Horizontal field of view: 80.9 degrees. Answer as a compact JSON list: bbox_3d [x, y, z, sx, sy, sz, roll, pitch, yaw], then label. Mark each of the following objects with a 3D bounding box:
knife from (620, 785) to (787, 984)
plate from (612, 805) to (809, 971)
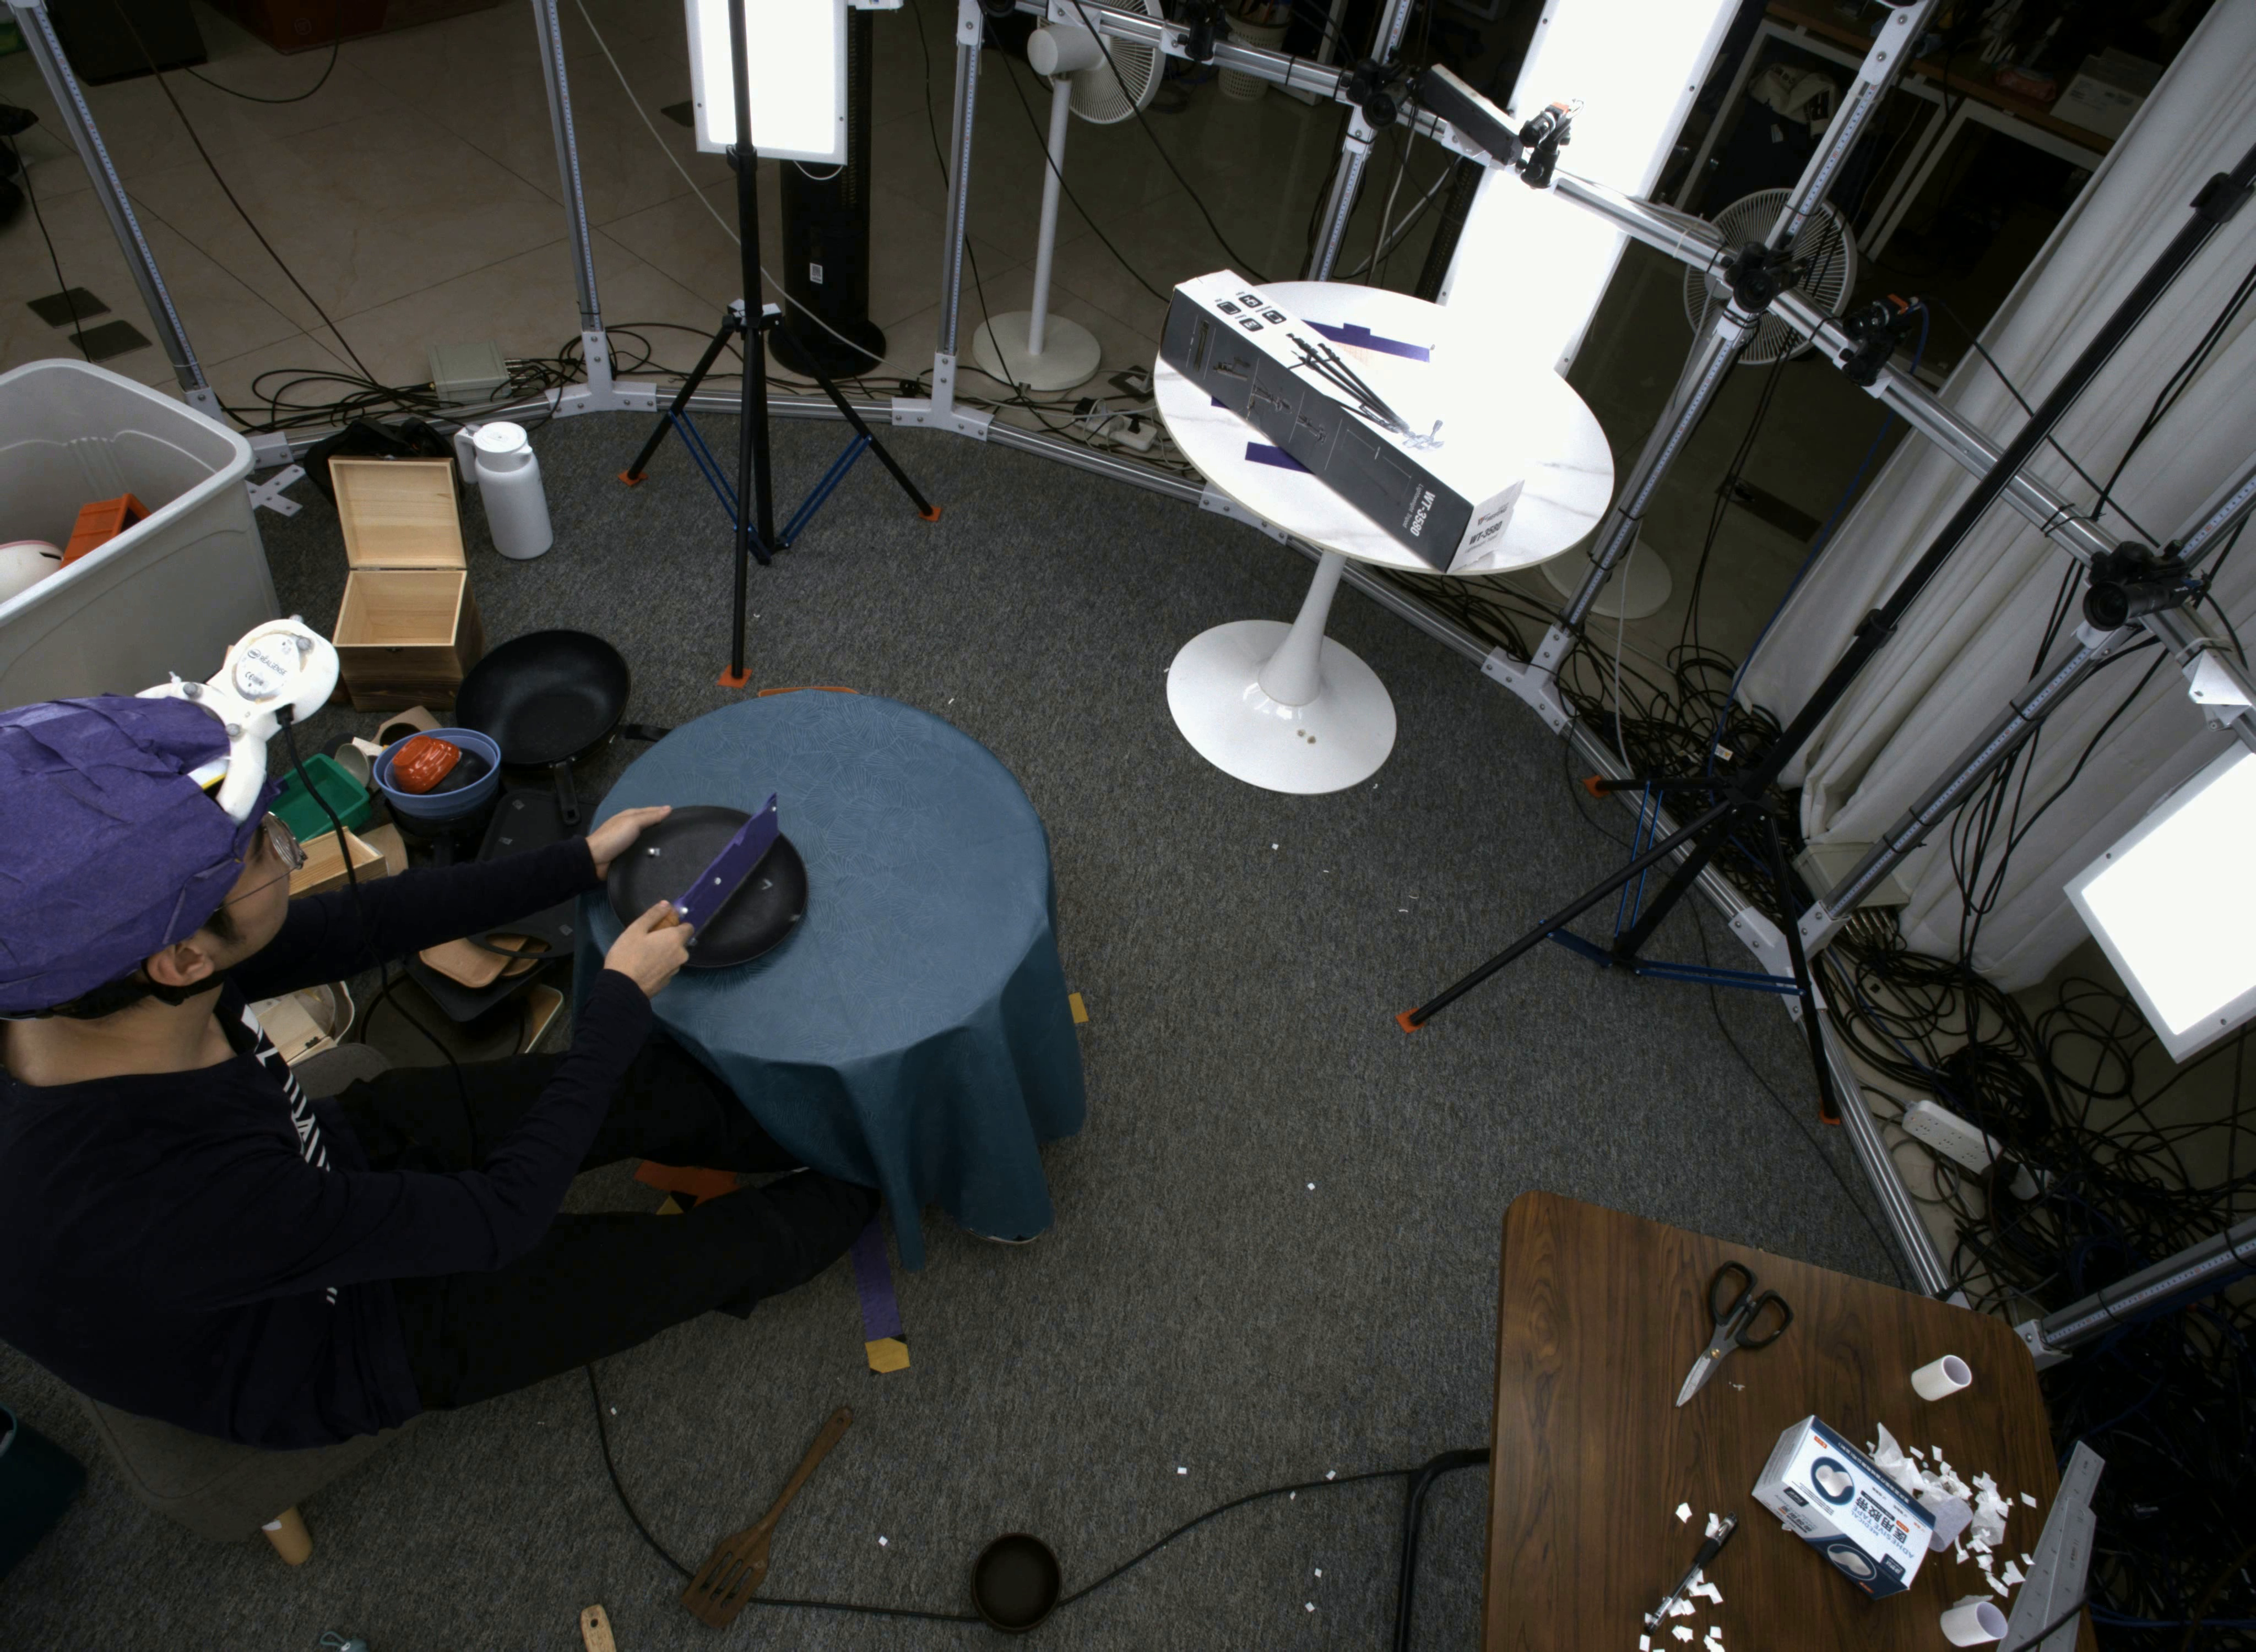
[{"bbox_3d":[-0.501,0.083,1.558,0.031,0.106,0.313,24,50,11],"label":"knife"},{"bbox_3d":[-0.526,0.077,1.623,0.246,0.024,0.240,12,53,-15],"label":"plate"}]
